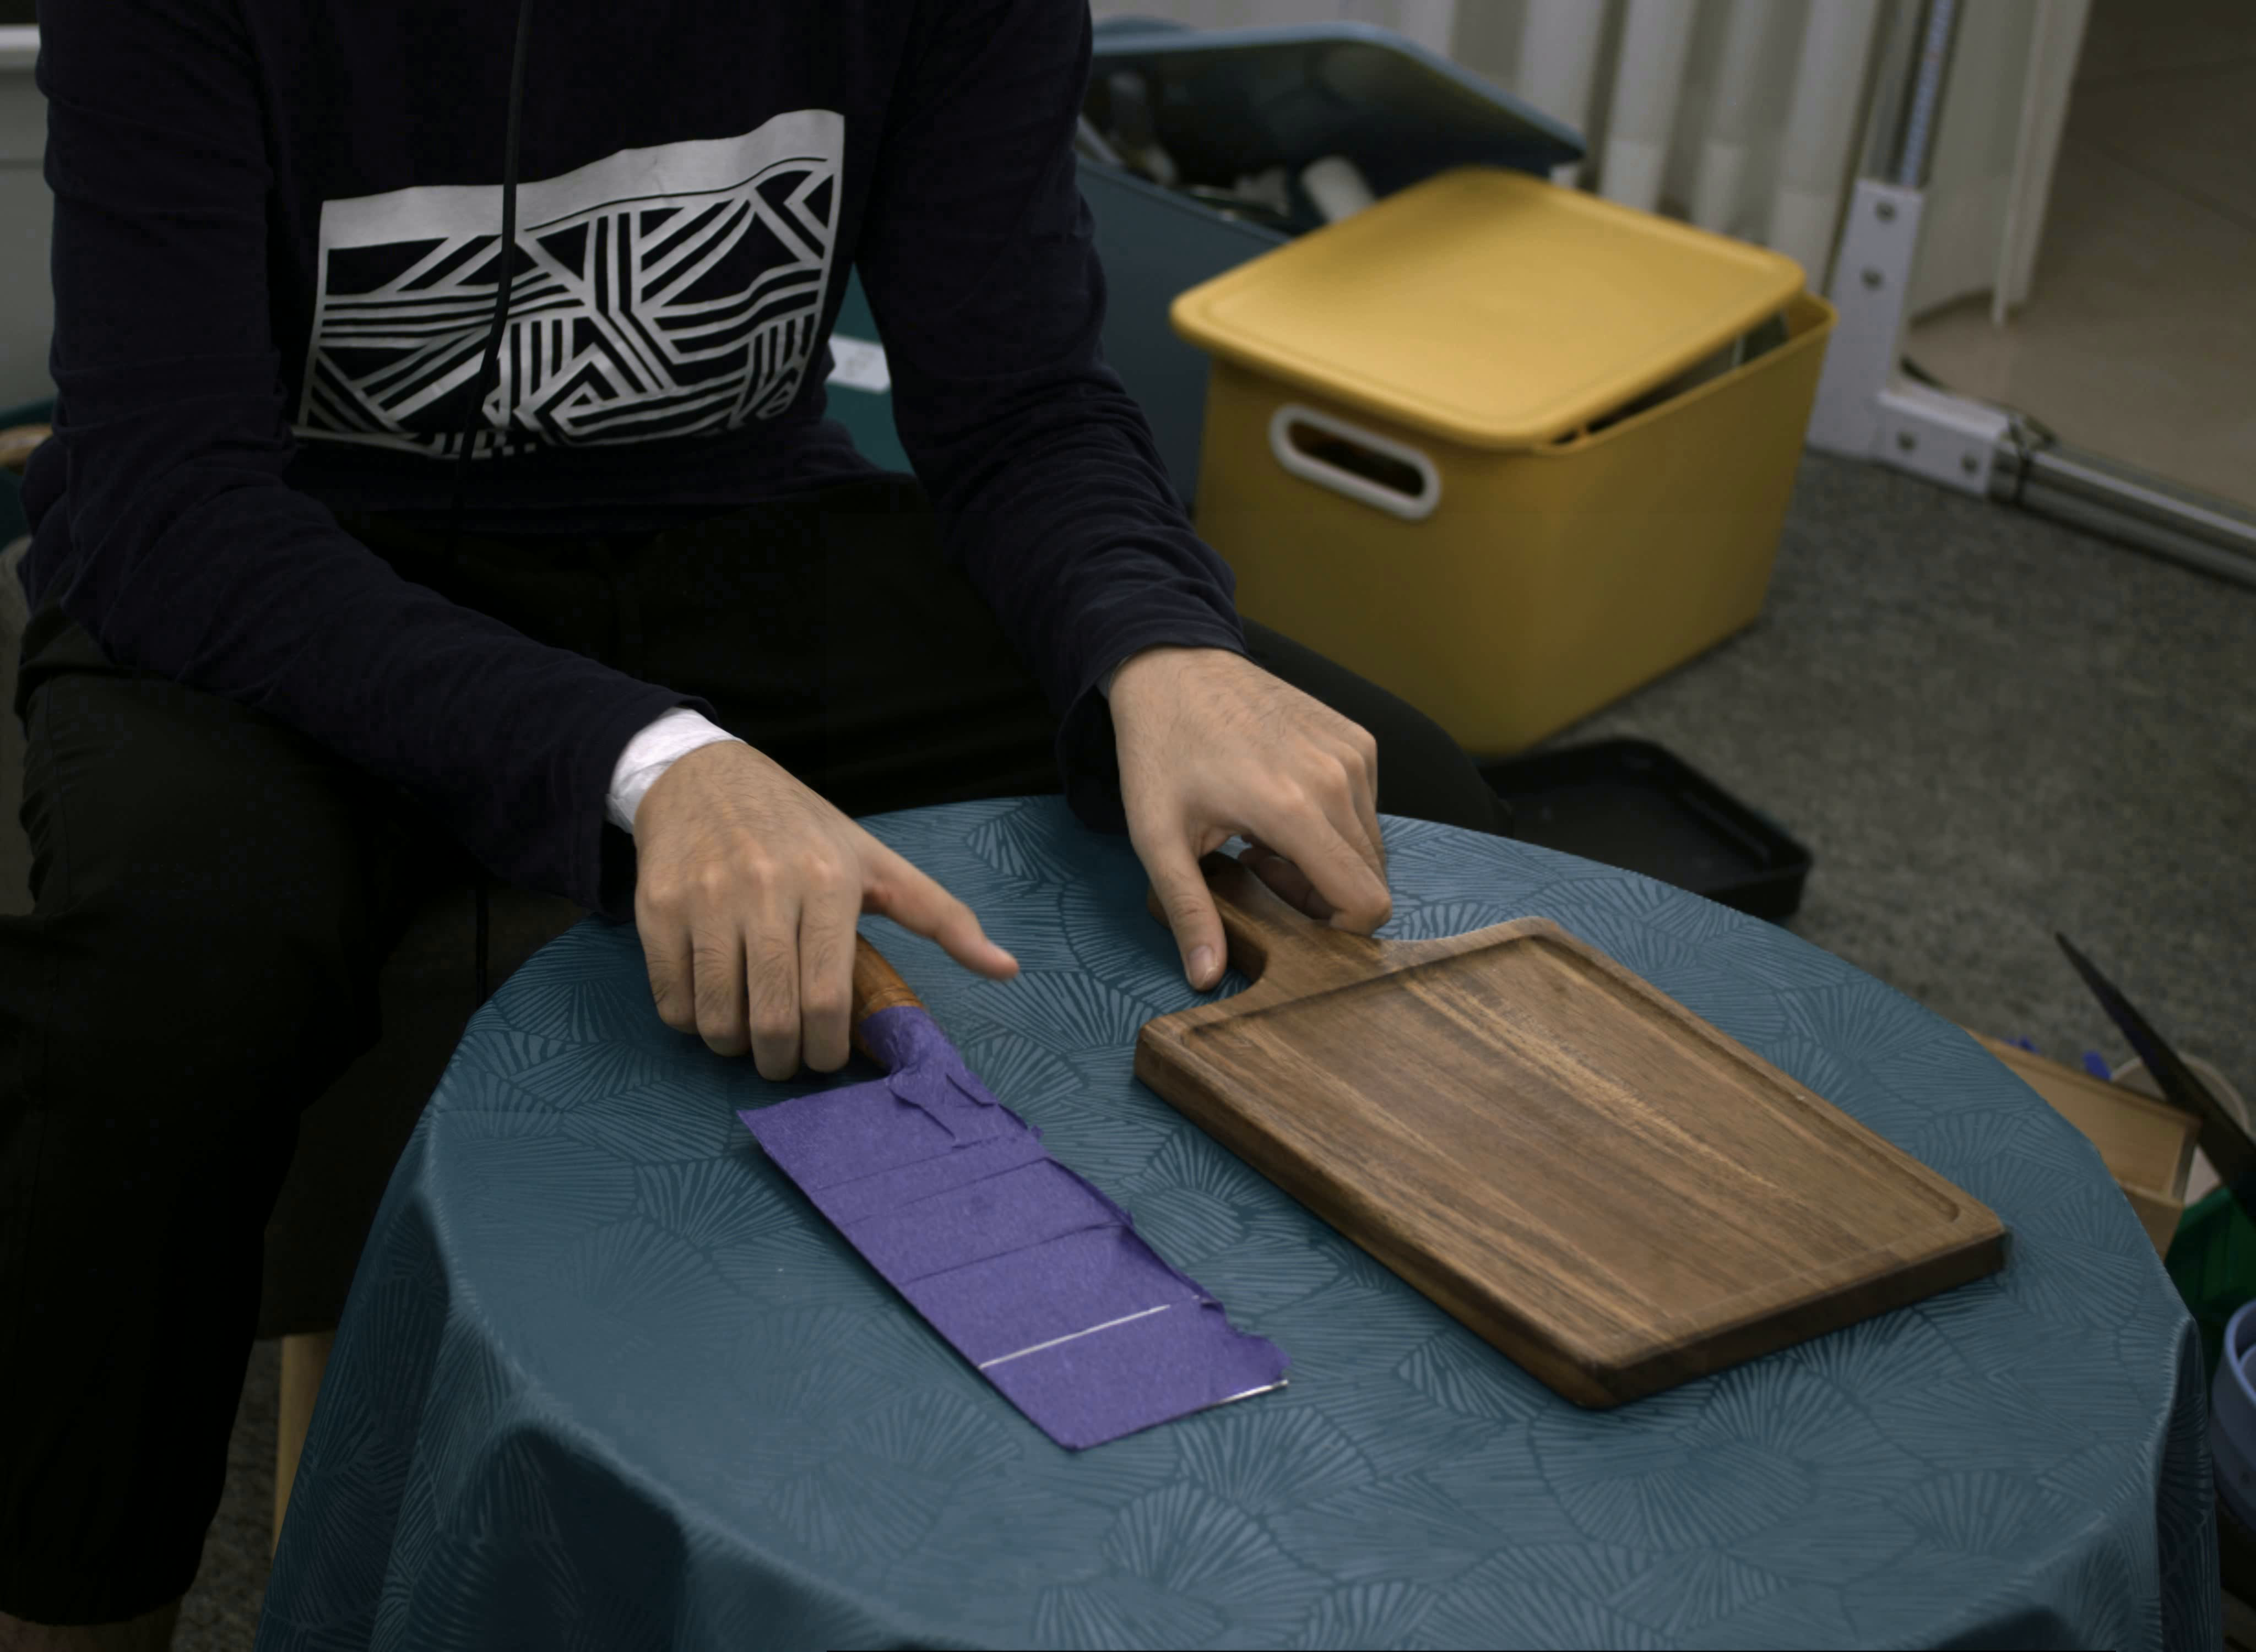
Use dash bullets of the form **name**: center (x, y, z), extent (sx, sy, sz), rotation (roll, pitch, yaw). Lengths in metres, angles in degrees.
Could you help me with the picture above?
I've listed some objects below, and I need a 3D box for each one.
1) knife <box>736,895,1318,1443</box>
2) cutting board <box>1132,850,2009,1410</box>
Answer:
- **knife**: center (-0.066, 0.110, 1.787), extent (0.103, 0.032, 0.318), rotation (-12, 32, -33)
- **cutting board**: center (0.121, 0.090, 1.877), extent (0.200, 0.023, 0.355), rotation (-14, 33, -35)
